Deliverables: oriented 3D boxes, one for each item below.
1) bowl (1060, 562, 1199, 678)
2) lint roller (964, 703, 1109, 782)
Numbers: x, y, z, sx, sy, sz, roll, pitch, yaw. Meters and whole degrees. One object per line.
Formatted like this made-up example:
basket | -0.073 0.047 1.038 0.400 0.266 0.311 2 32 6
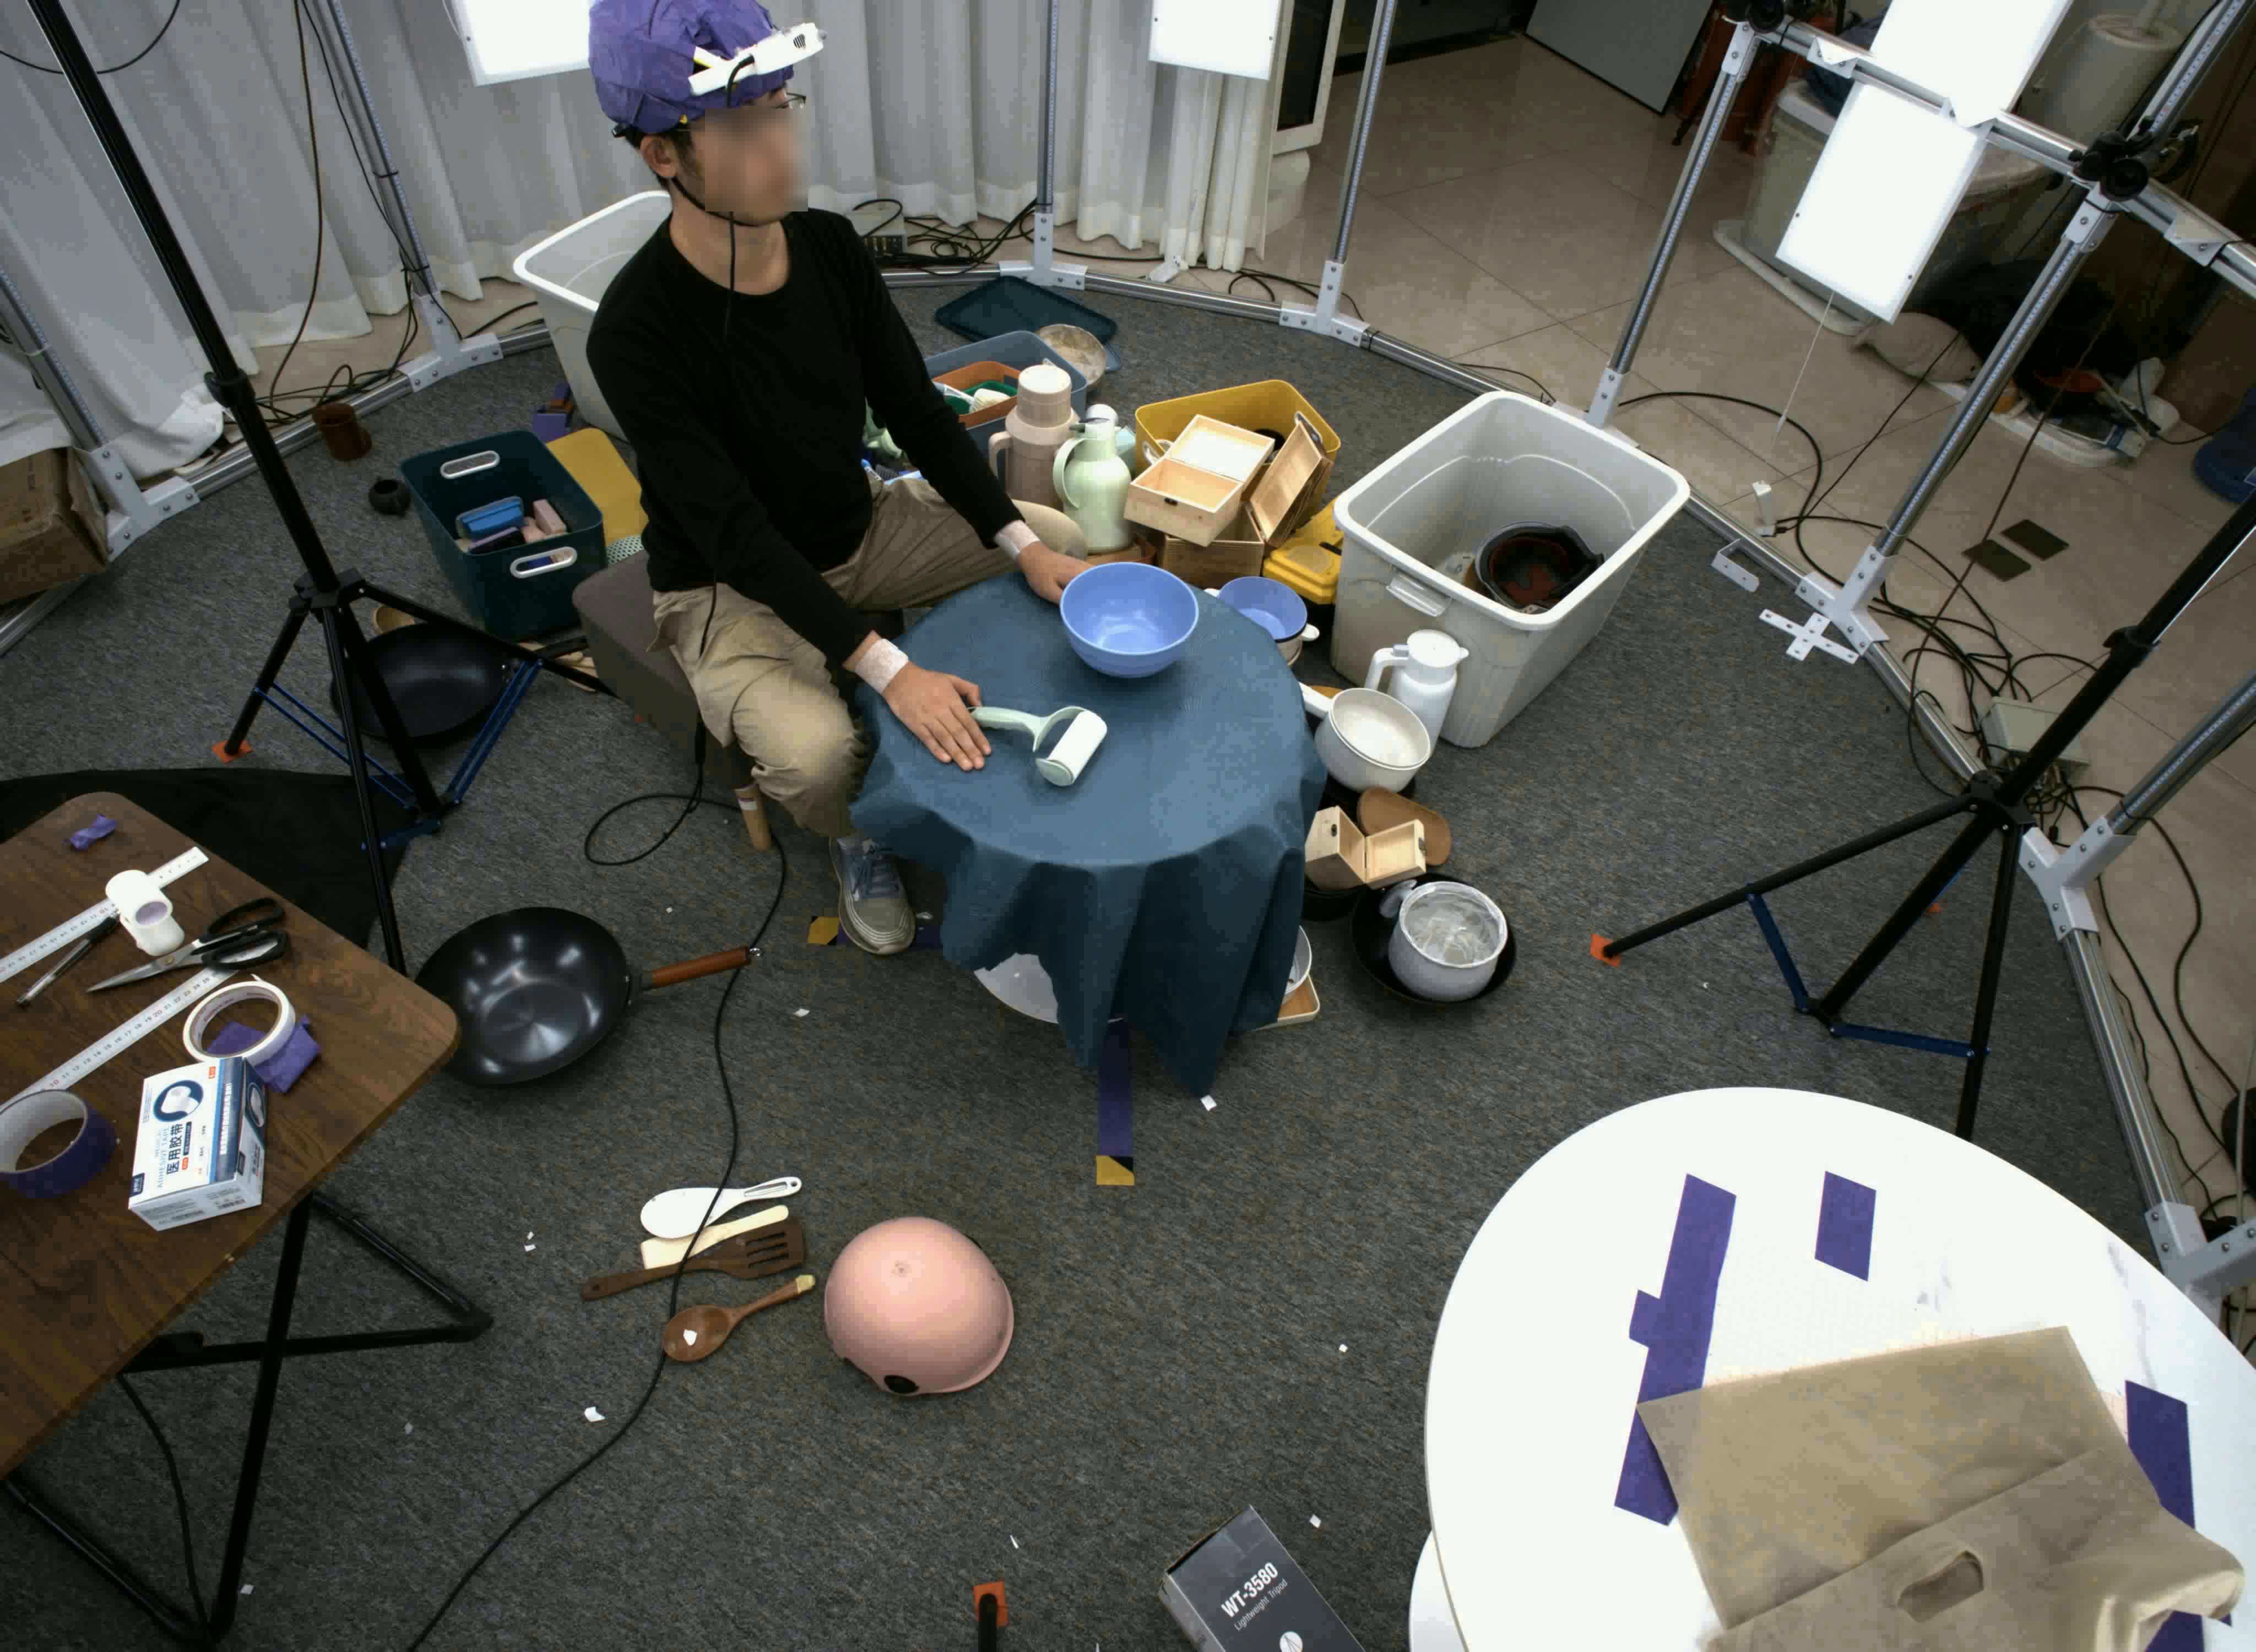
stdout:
bowl | 0.000 -0.282 1.852 0.196 0.093 0.201 1 50 -2
lint roller | -0.133 -0.135 1.749 0.199 0.047 0.119 21 53 15
